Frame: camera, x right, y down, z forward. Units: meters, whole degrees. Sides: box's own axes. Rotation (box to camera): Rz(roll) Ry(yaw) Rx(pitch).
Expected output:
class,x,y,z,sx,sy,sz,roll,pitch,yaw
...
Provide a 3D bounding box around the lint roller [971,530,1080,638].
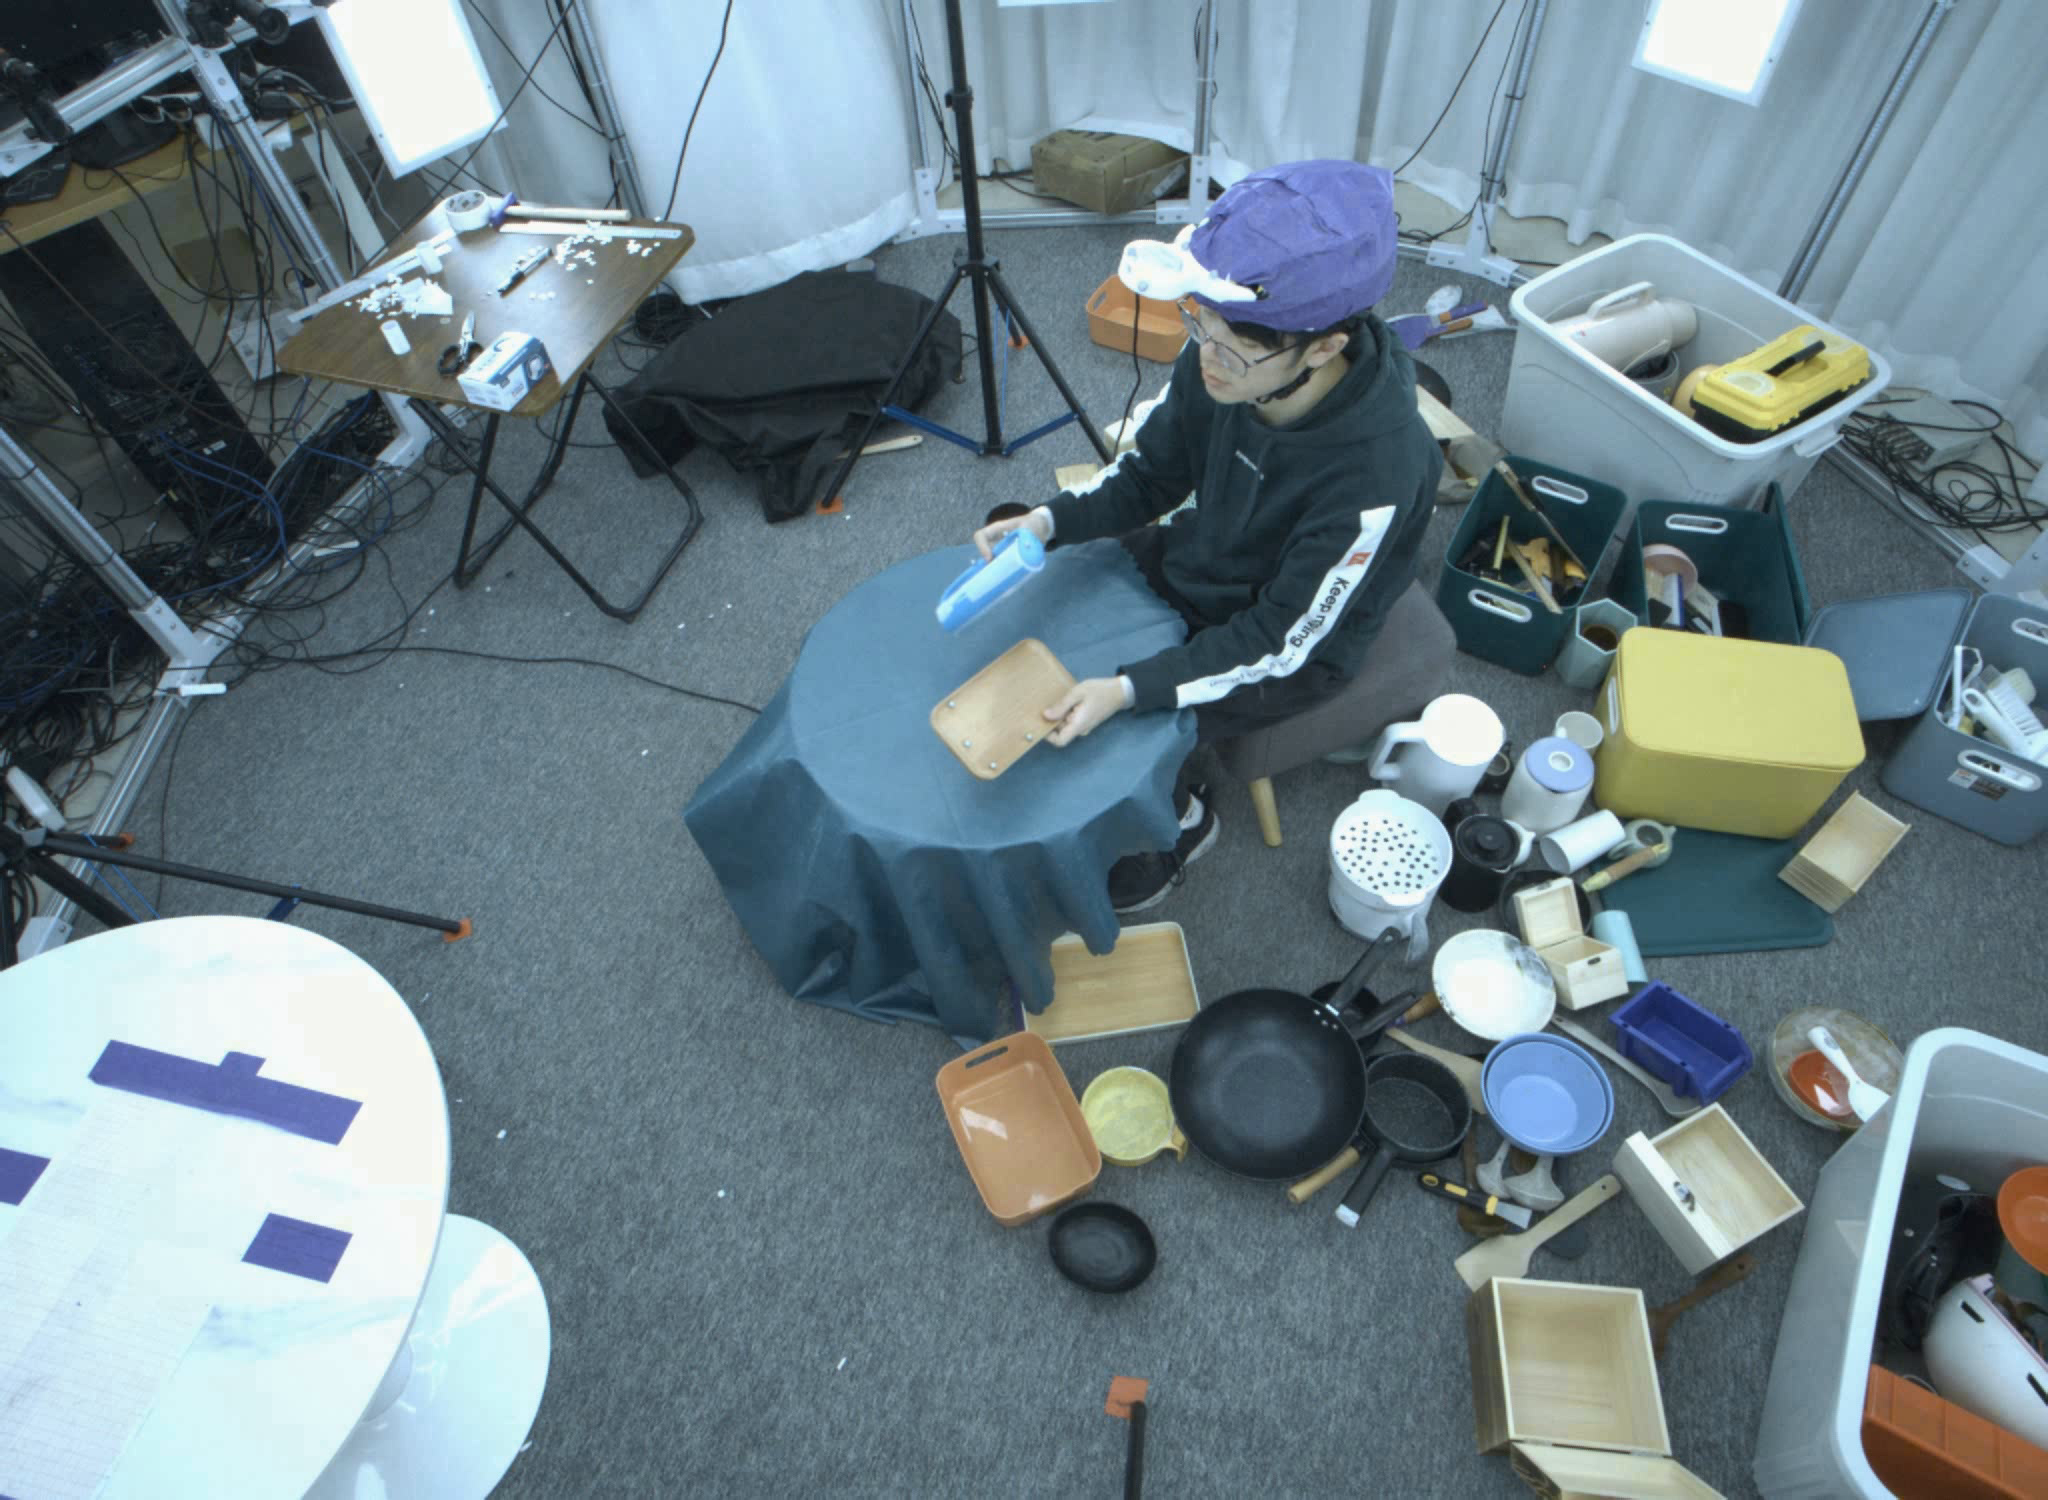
class,x,y,z,sx,sy,sz,roll,pitch,yaw
lint roller,0.021,-0.263,1.781,0.068,0.226,0.180,43,43,-11

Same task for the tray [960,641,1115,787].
class,x,y,z,sx,sy,sz,roll,pitch,yaw
tray,0.021,-0.053,1.703,0.253,0.022,0.131,-38,95,-39
